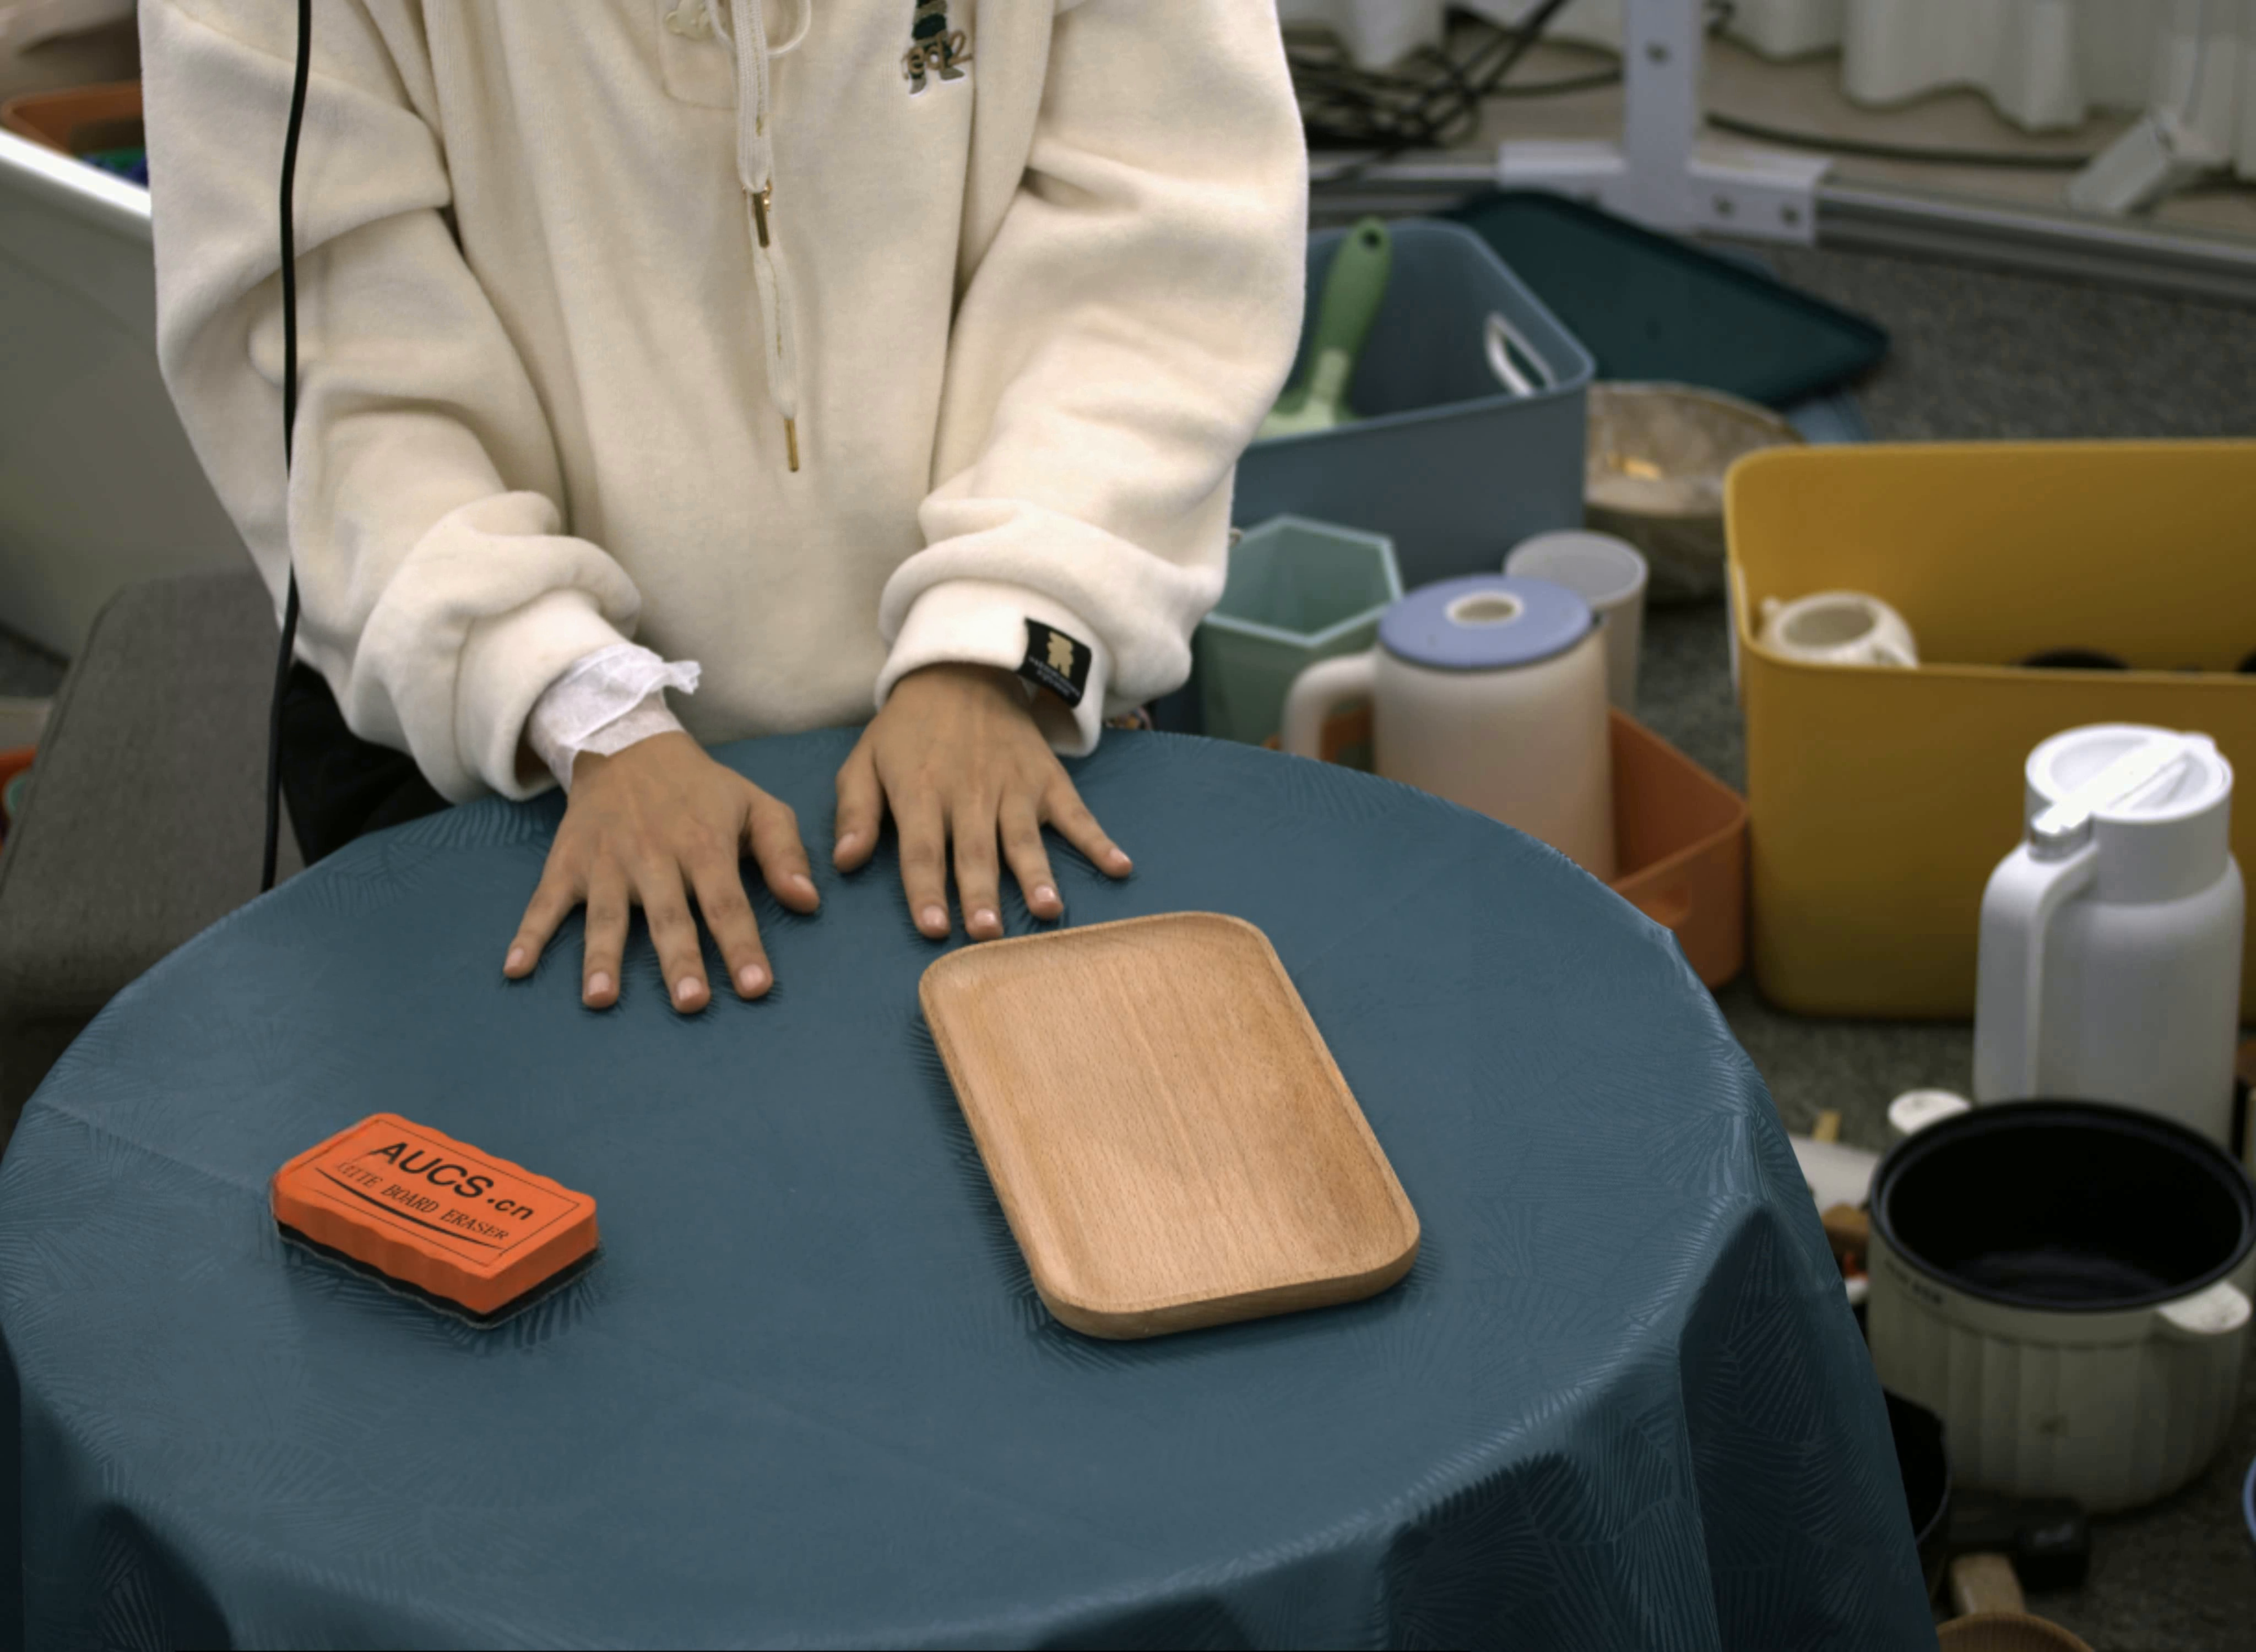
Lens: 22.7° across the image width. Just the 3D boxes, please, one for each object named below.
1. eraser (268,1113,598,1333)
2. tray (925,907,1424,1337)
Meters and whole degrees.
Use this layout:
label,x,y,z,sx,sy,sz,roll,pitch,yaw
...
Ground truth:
label,x,y,z,sx,sy,sz,roll,pitch,yaw
eraser,-0.228,0.130,1.843,0.108,0.022,0.060,20,36,36
tray,0.012,0.097,1.889,0.130,0.022,0.253,-5,27,-10
